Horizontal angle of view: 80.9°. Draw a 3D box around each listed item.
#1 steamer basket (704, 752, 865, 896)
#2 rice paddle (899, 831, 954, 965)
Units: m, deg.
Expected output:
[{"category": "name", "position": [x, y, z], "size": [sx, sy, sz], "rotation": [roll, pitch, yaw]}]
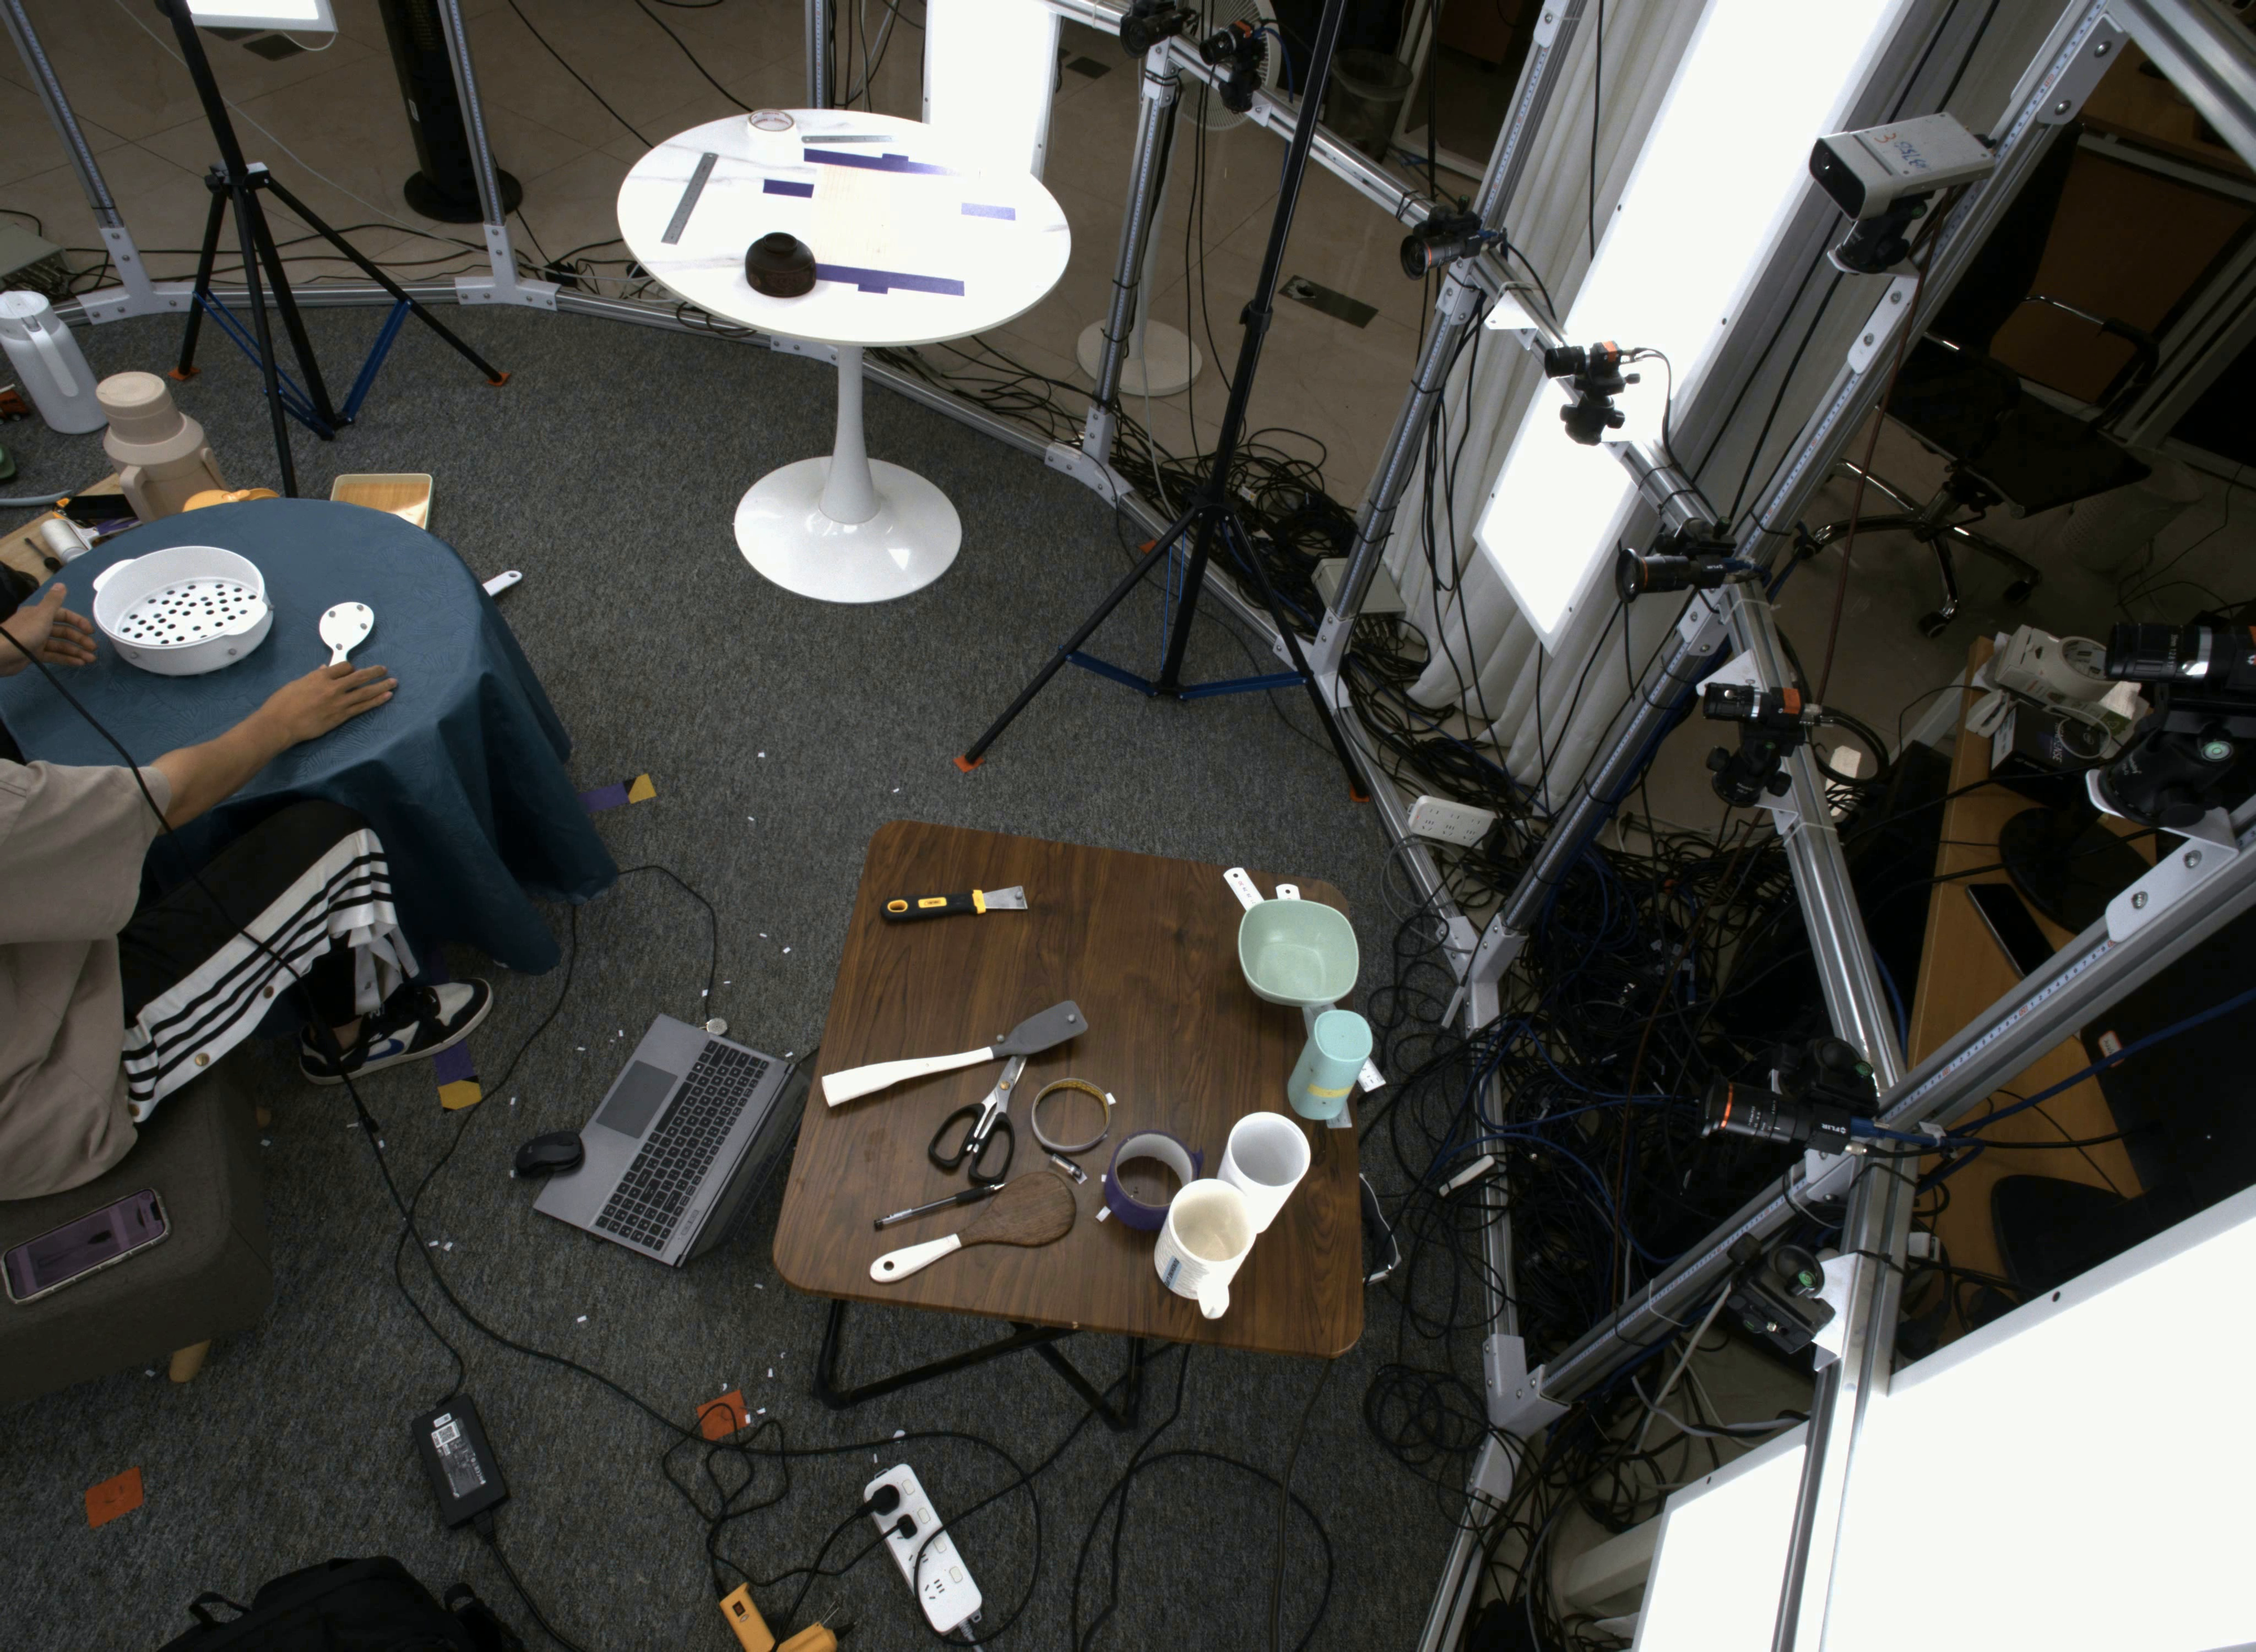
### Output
[{"category": "steamer basket", "position": [-0.446, -0.003, 1.689], "size": [0.226, 0.071, 0.201], "rotation": [29, 52, 11]}, {"category": "rice paddle", "position": [-0.268, 0.084, 1.689], "size": [0.068, 0.030, 0.202], "rotation": [9, 52, -8]}]
